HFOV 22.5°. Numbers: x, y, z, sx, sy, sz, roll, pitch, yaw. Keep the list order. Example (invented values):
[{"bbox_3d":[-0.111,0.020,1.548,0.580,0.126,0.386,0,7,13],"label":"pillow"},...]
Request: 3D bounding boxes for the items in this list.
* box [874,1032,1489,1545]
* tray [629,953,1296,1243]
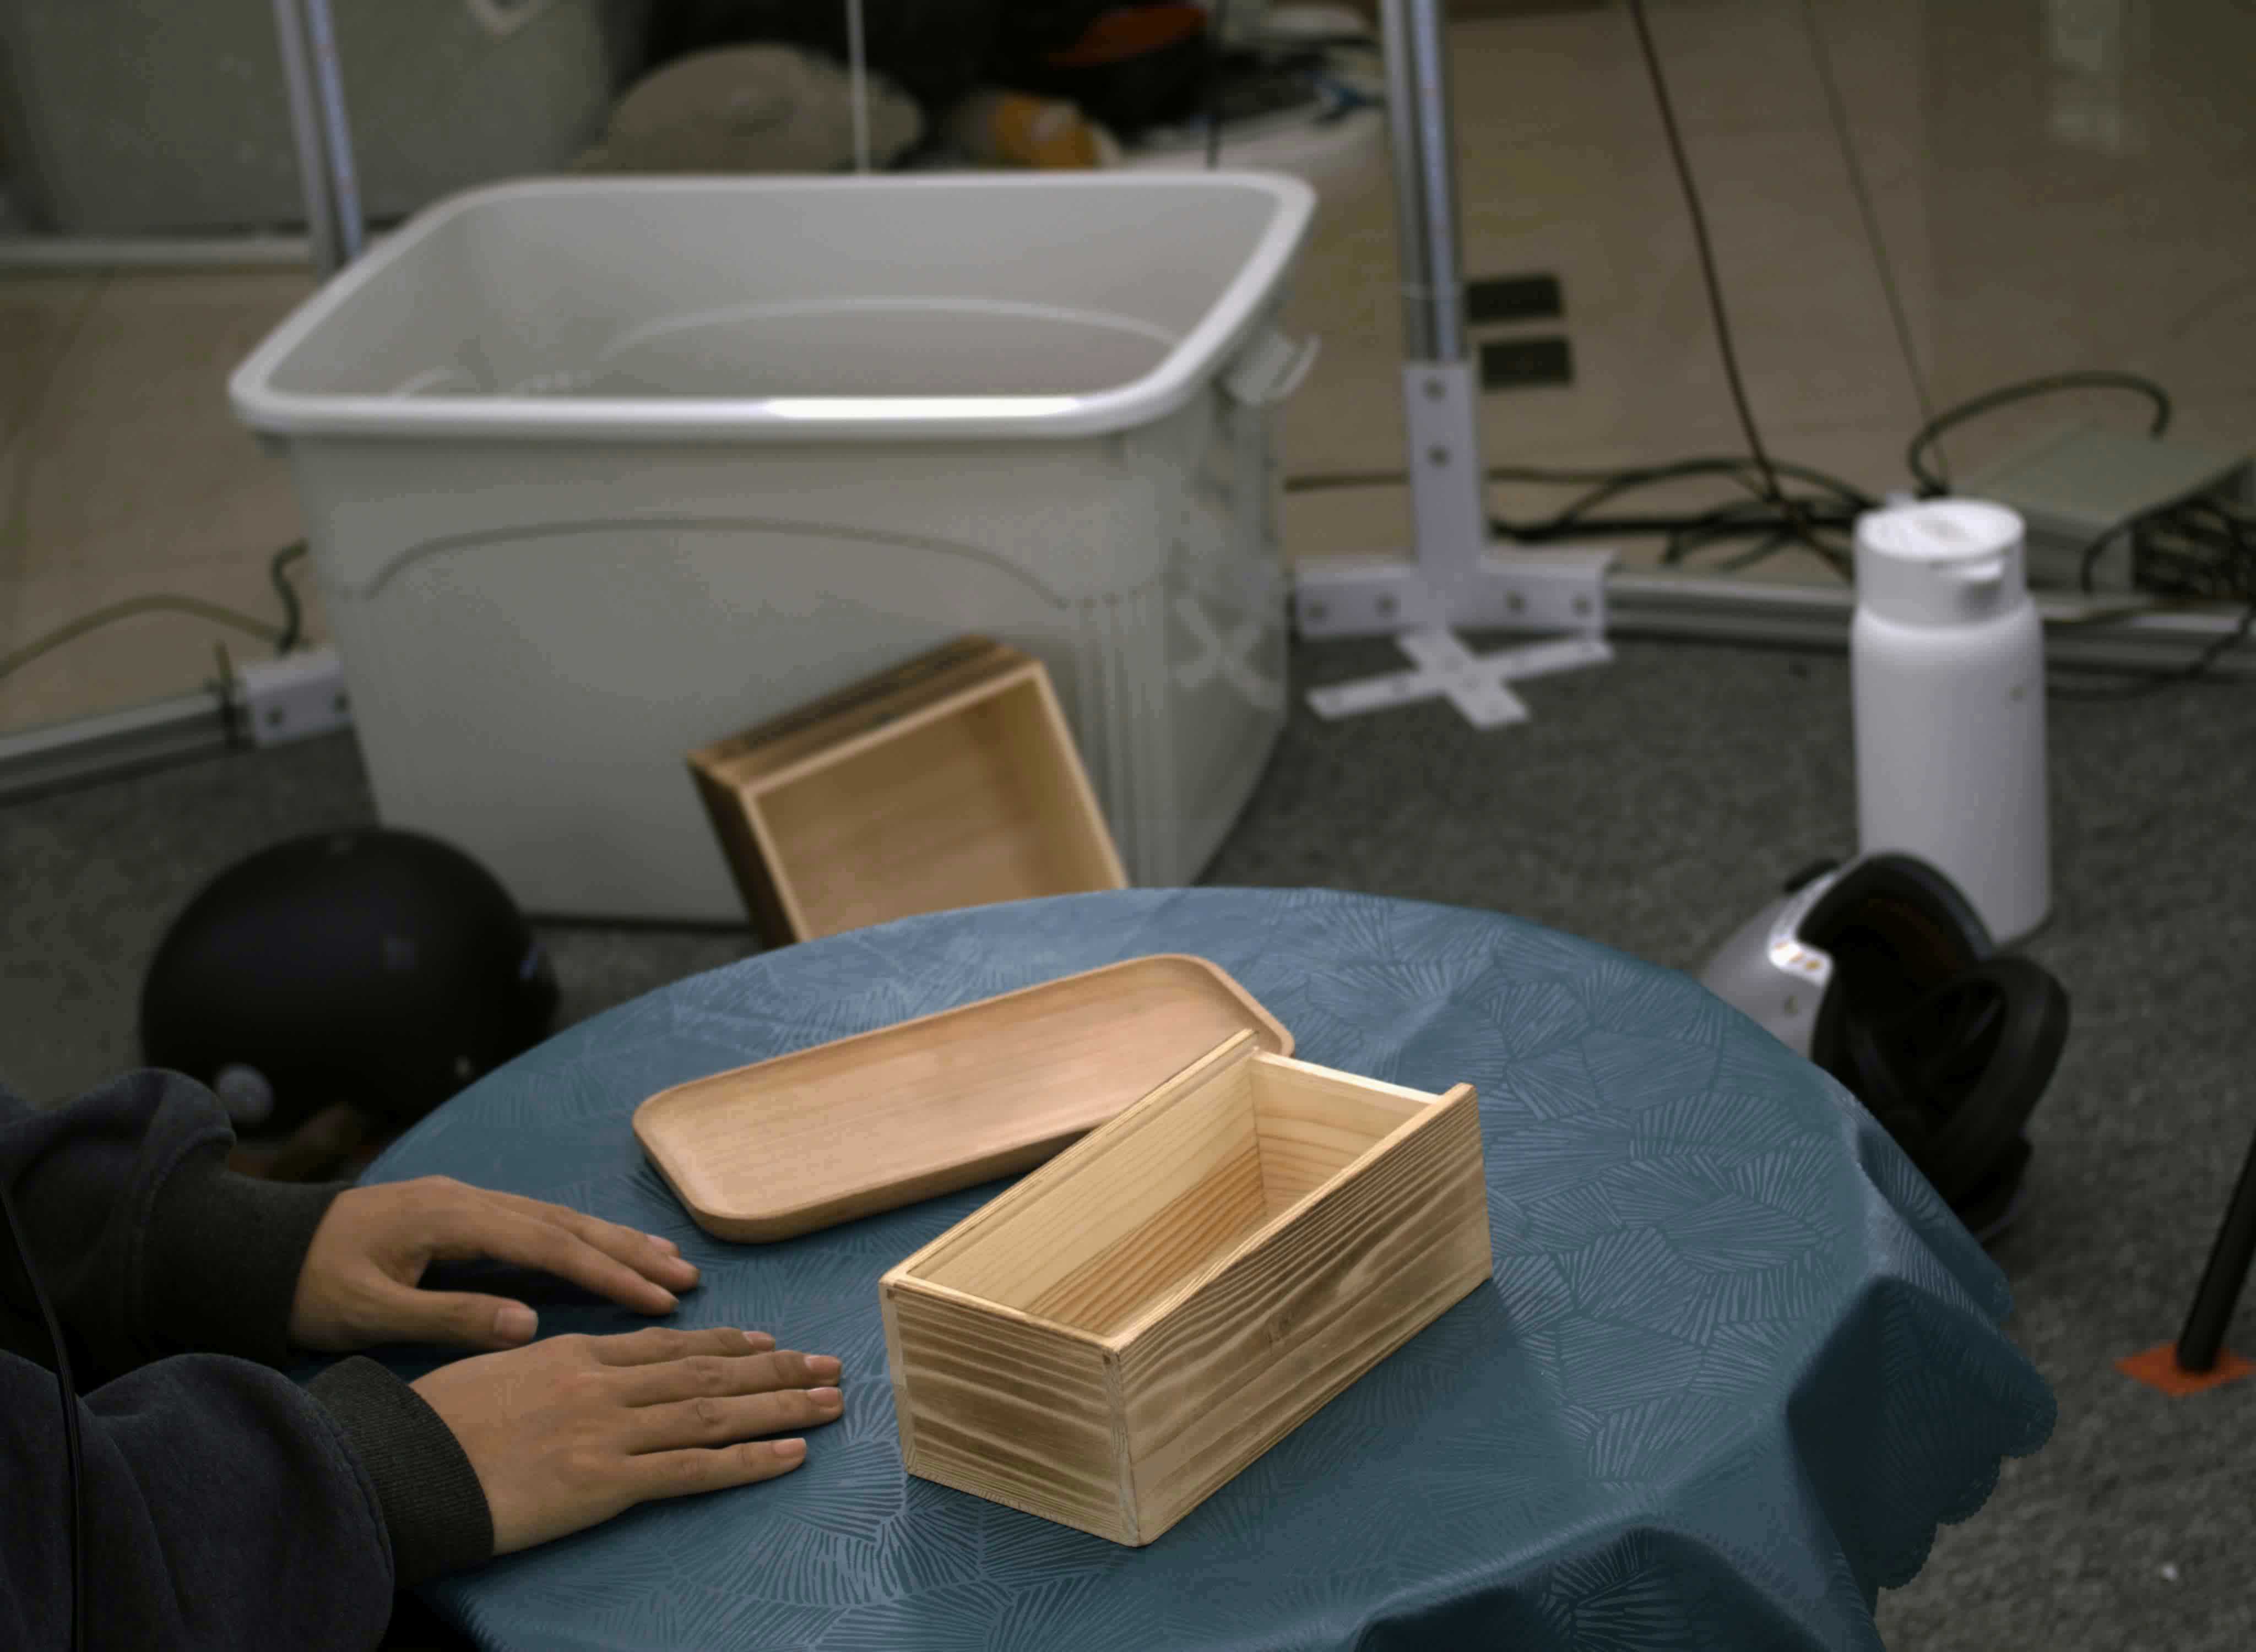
[{"bbox_3d":[0.022,0.159,2.002,0.107,0.081,0.209,14,32,36],"label":"box"},{"bbox_3d":[-0.064,0.105,2.214,0.250,0.023,0.129,-15,24,-17],"label":"tray"}]
